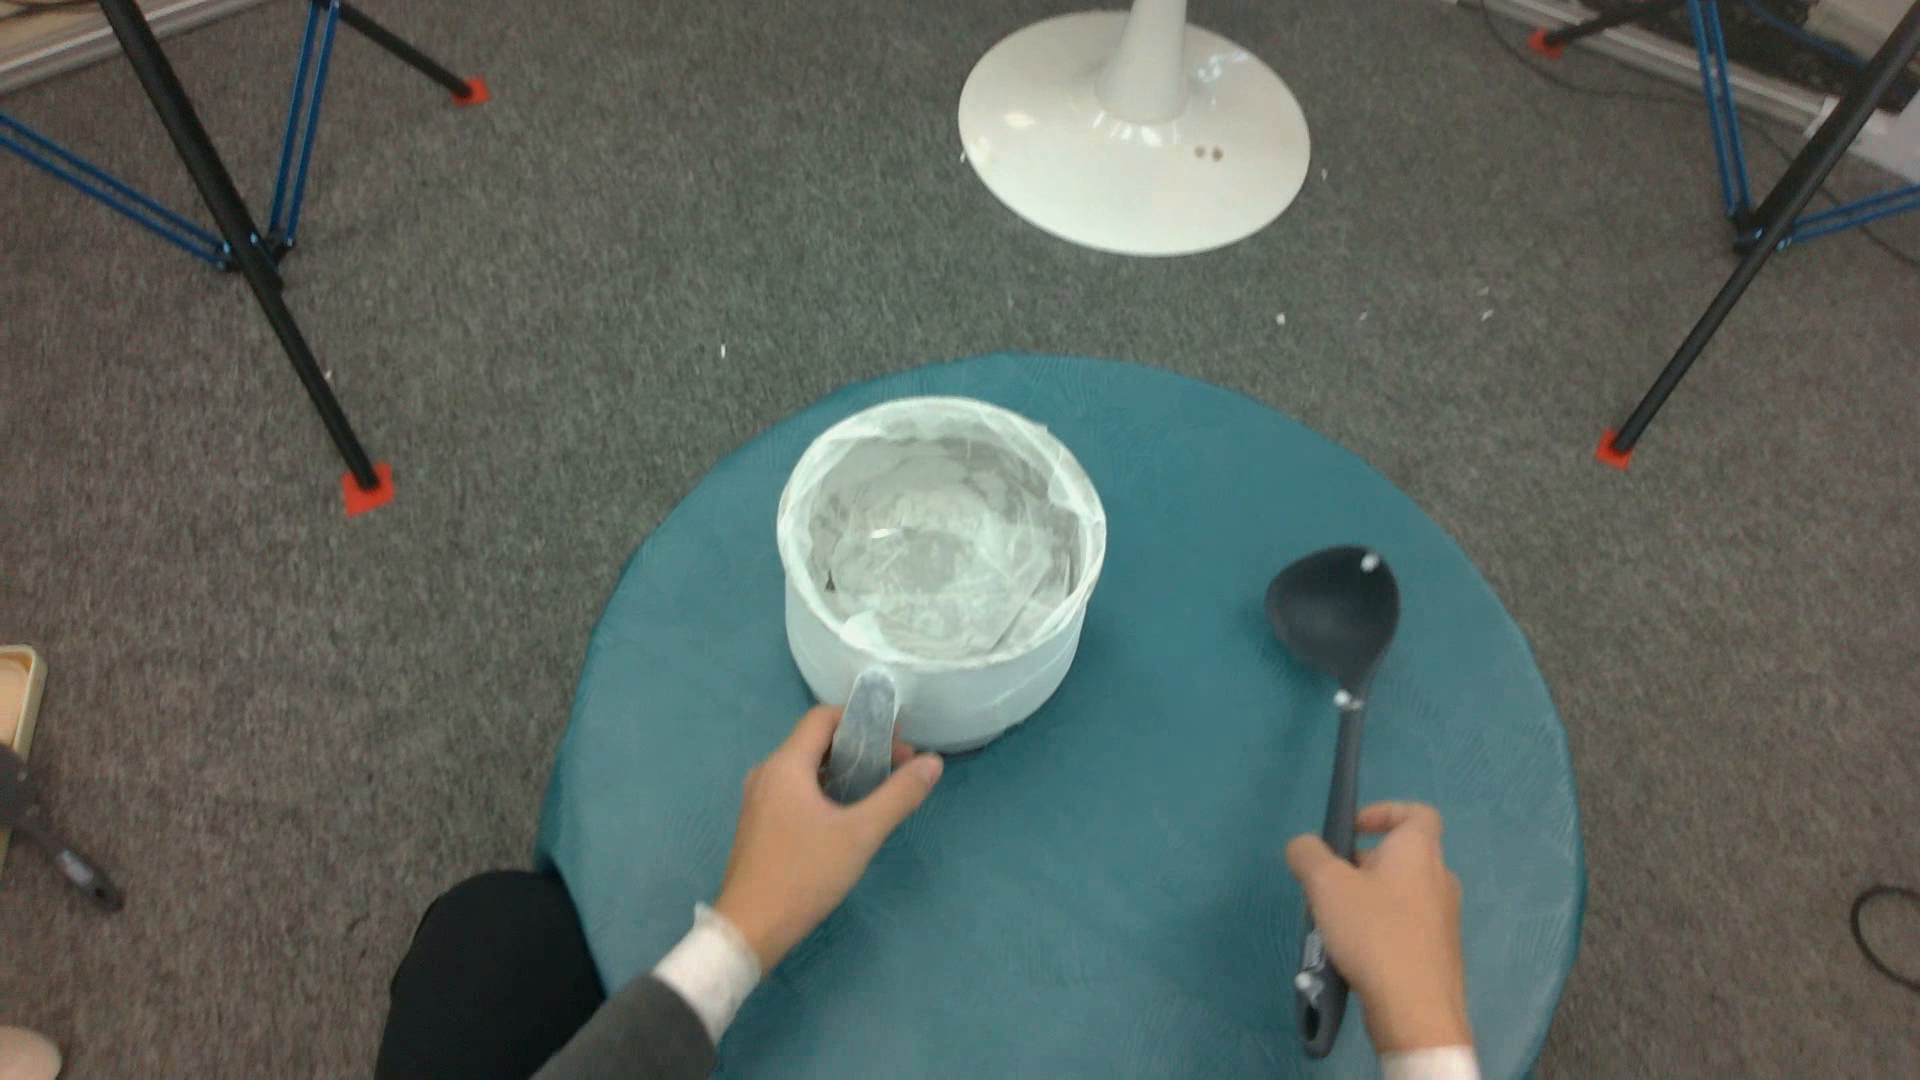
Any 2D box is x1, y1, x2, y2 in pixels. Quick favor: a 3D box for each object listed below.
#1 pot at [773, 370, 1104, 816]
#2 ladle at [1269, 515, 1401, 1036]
[{"bbox_3d":[-0.024,0.034,0.774,0.178,0.136,0.235,17,59,6],"label":"pot"},{"bbox_3d":[0.190,0.109,0.732,0.064,0.086,0.316,40,43,-15],"label":"ladle"}]
